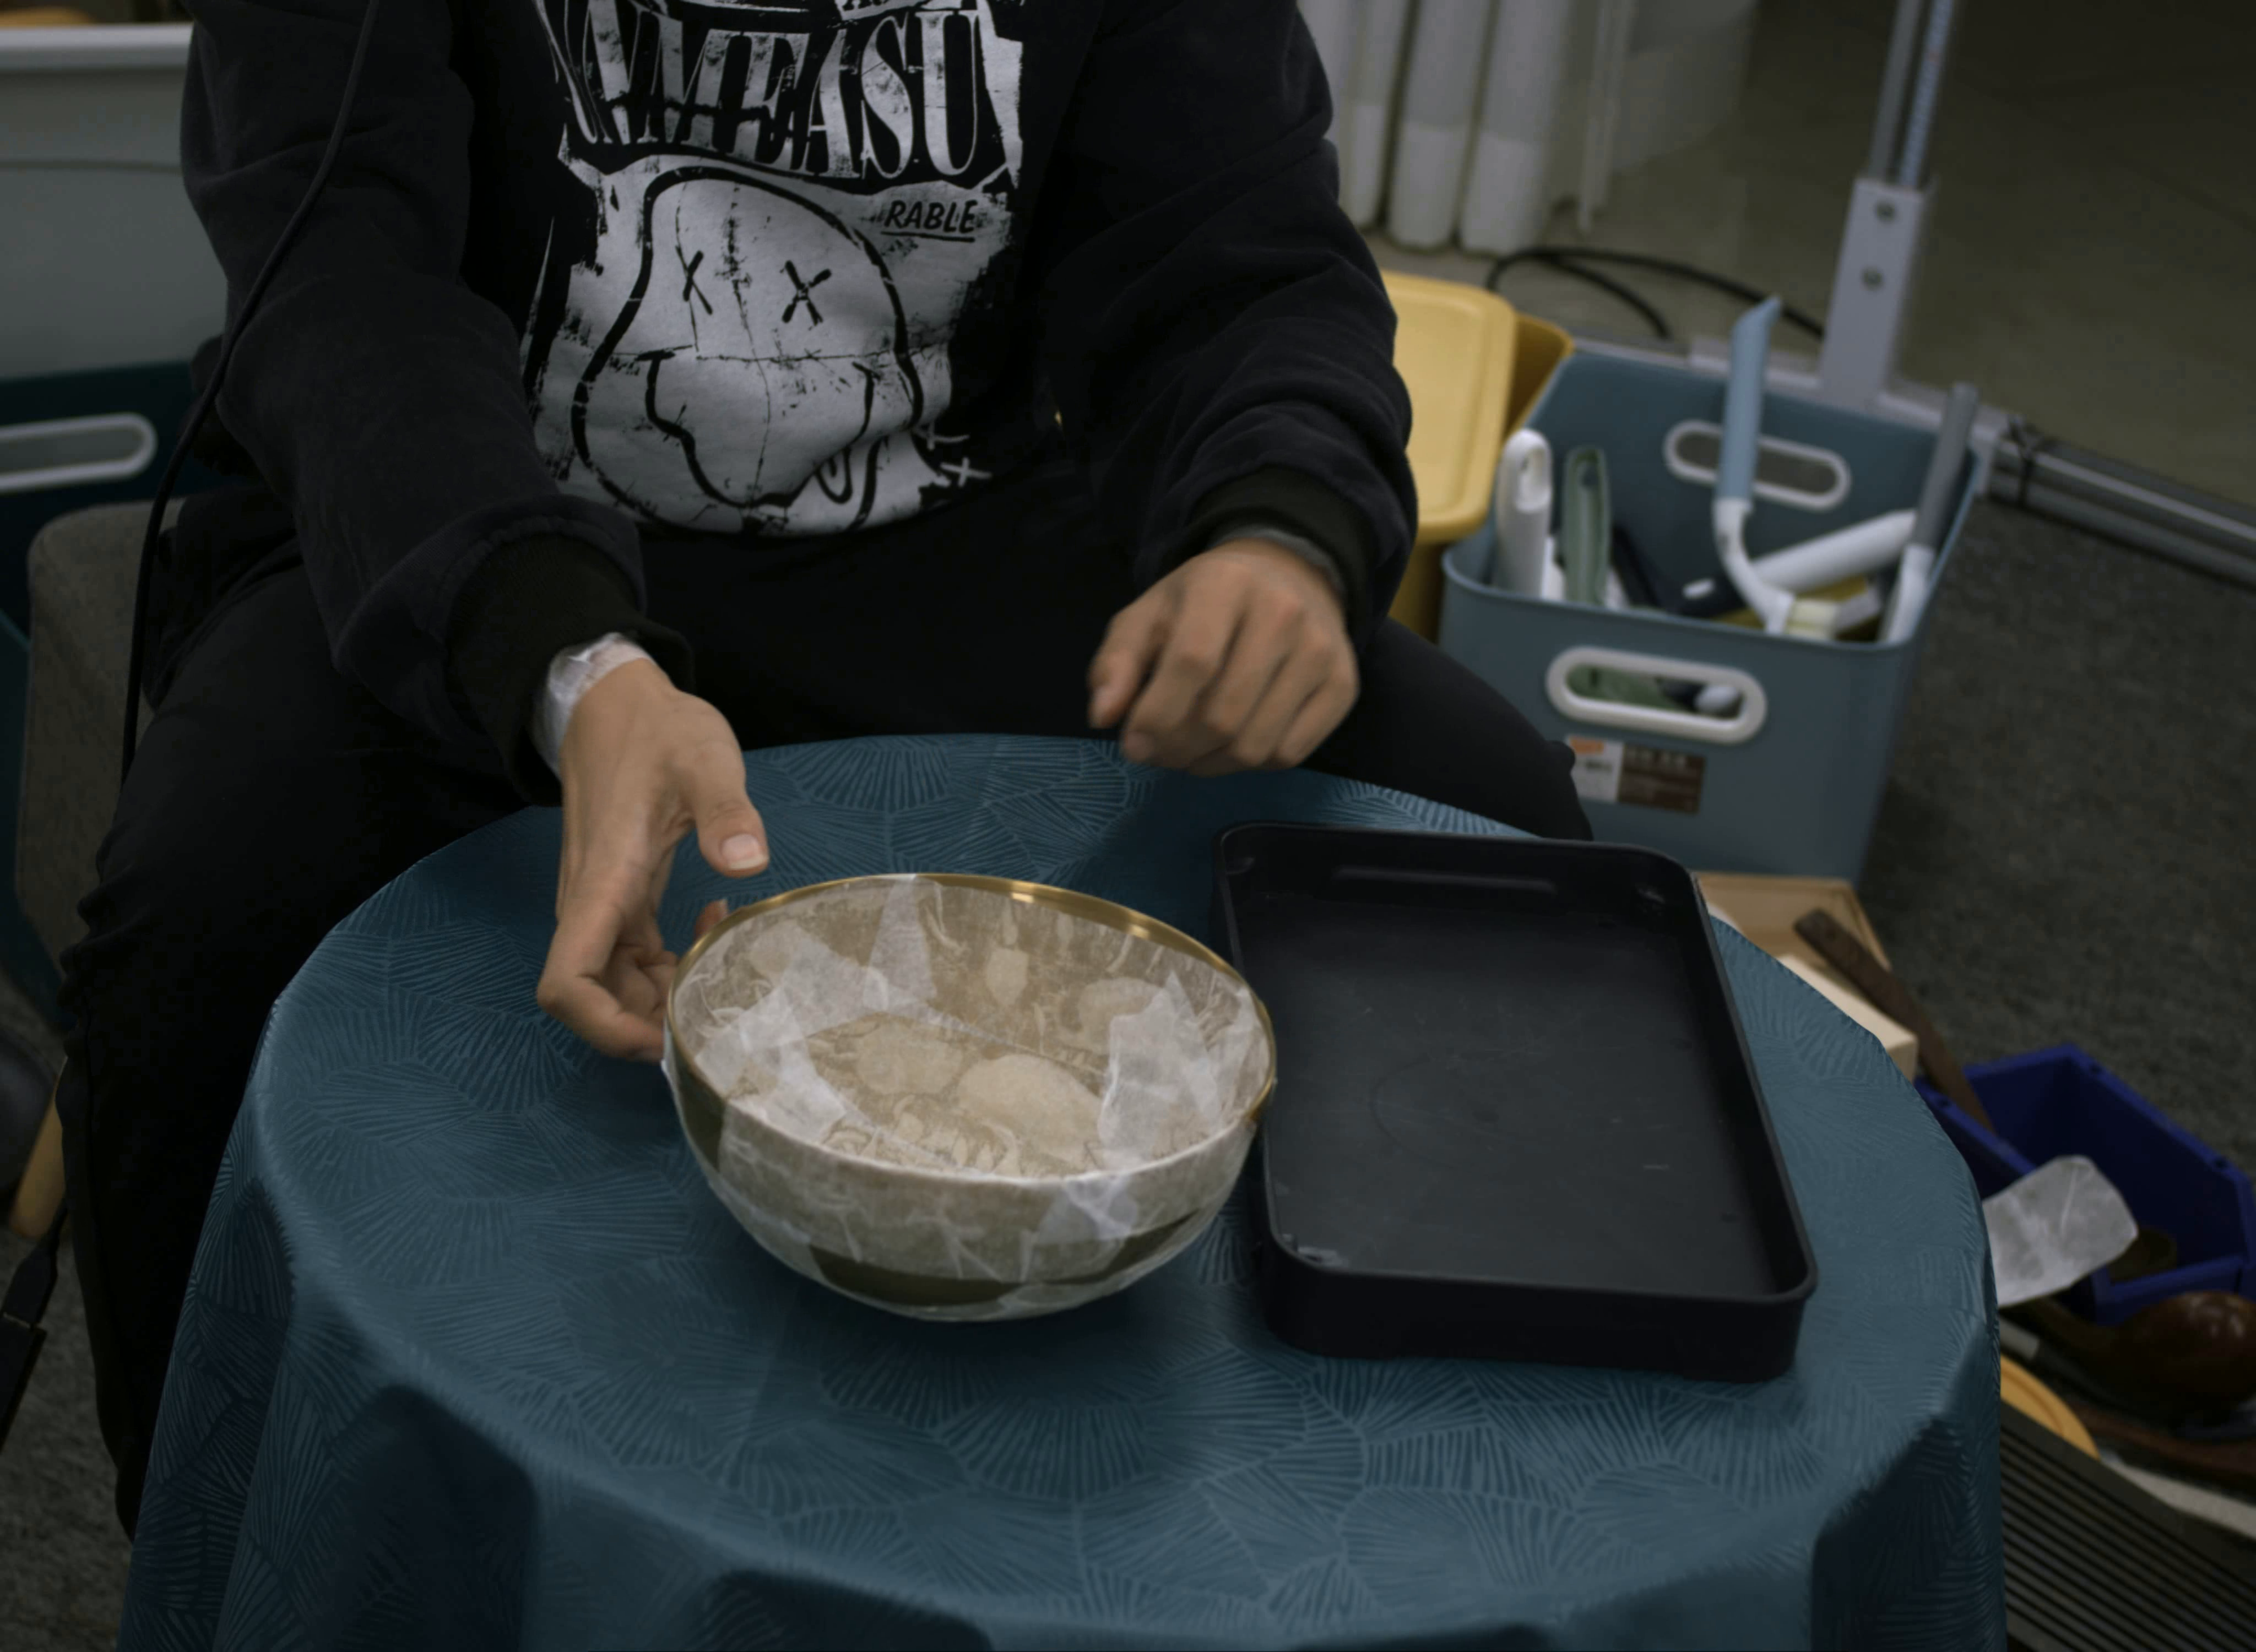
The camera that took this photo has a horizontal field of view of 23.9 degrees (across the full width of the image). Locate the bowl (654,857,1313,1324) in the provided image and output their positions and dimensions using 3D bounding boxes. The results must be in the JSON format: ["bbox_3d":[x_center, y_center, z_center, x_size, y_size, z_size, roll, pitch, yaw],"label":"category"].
[{"bbox_3d":[-0.052,0.099,1.735,0.214,0.094,0.216,4,27,-2],"label":"bowl"}]

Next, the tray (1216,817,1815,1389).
[{"bbox_3d":[0.127,0.090,1.856,0.183,0.037,0.320,5,27,-4],"label":"tray"}]
